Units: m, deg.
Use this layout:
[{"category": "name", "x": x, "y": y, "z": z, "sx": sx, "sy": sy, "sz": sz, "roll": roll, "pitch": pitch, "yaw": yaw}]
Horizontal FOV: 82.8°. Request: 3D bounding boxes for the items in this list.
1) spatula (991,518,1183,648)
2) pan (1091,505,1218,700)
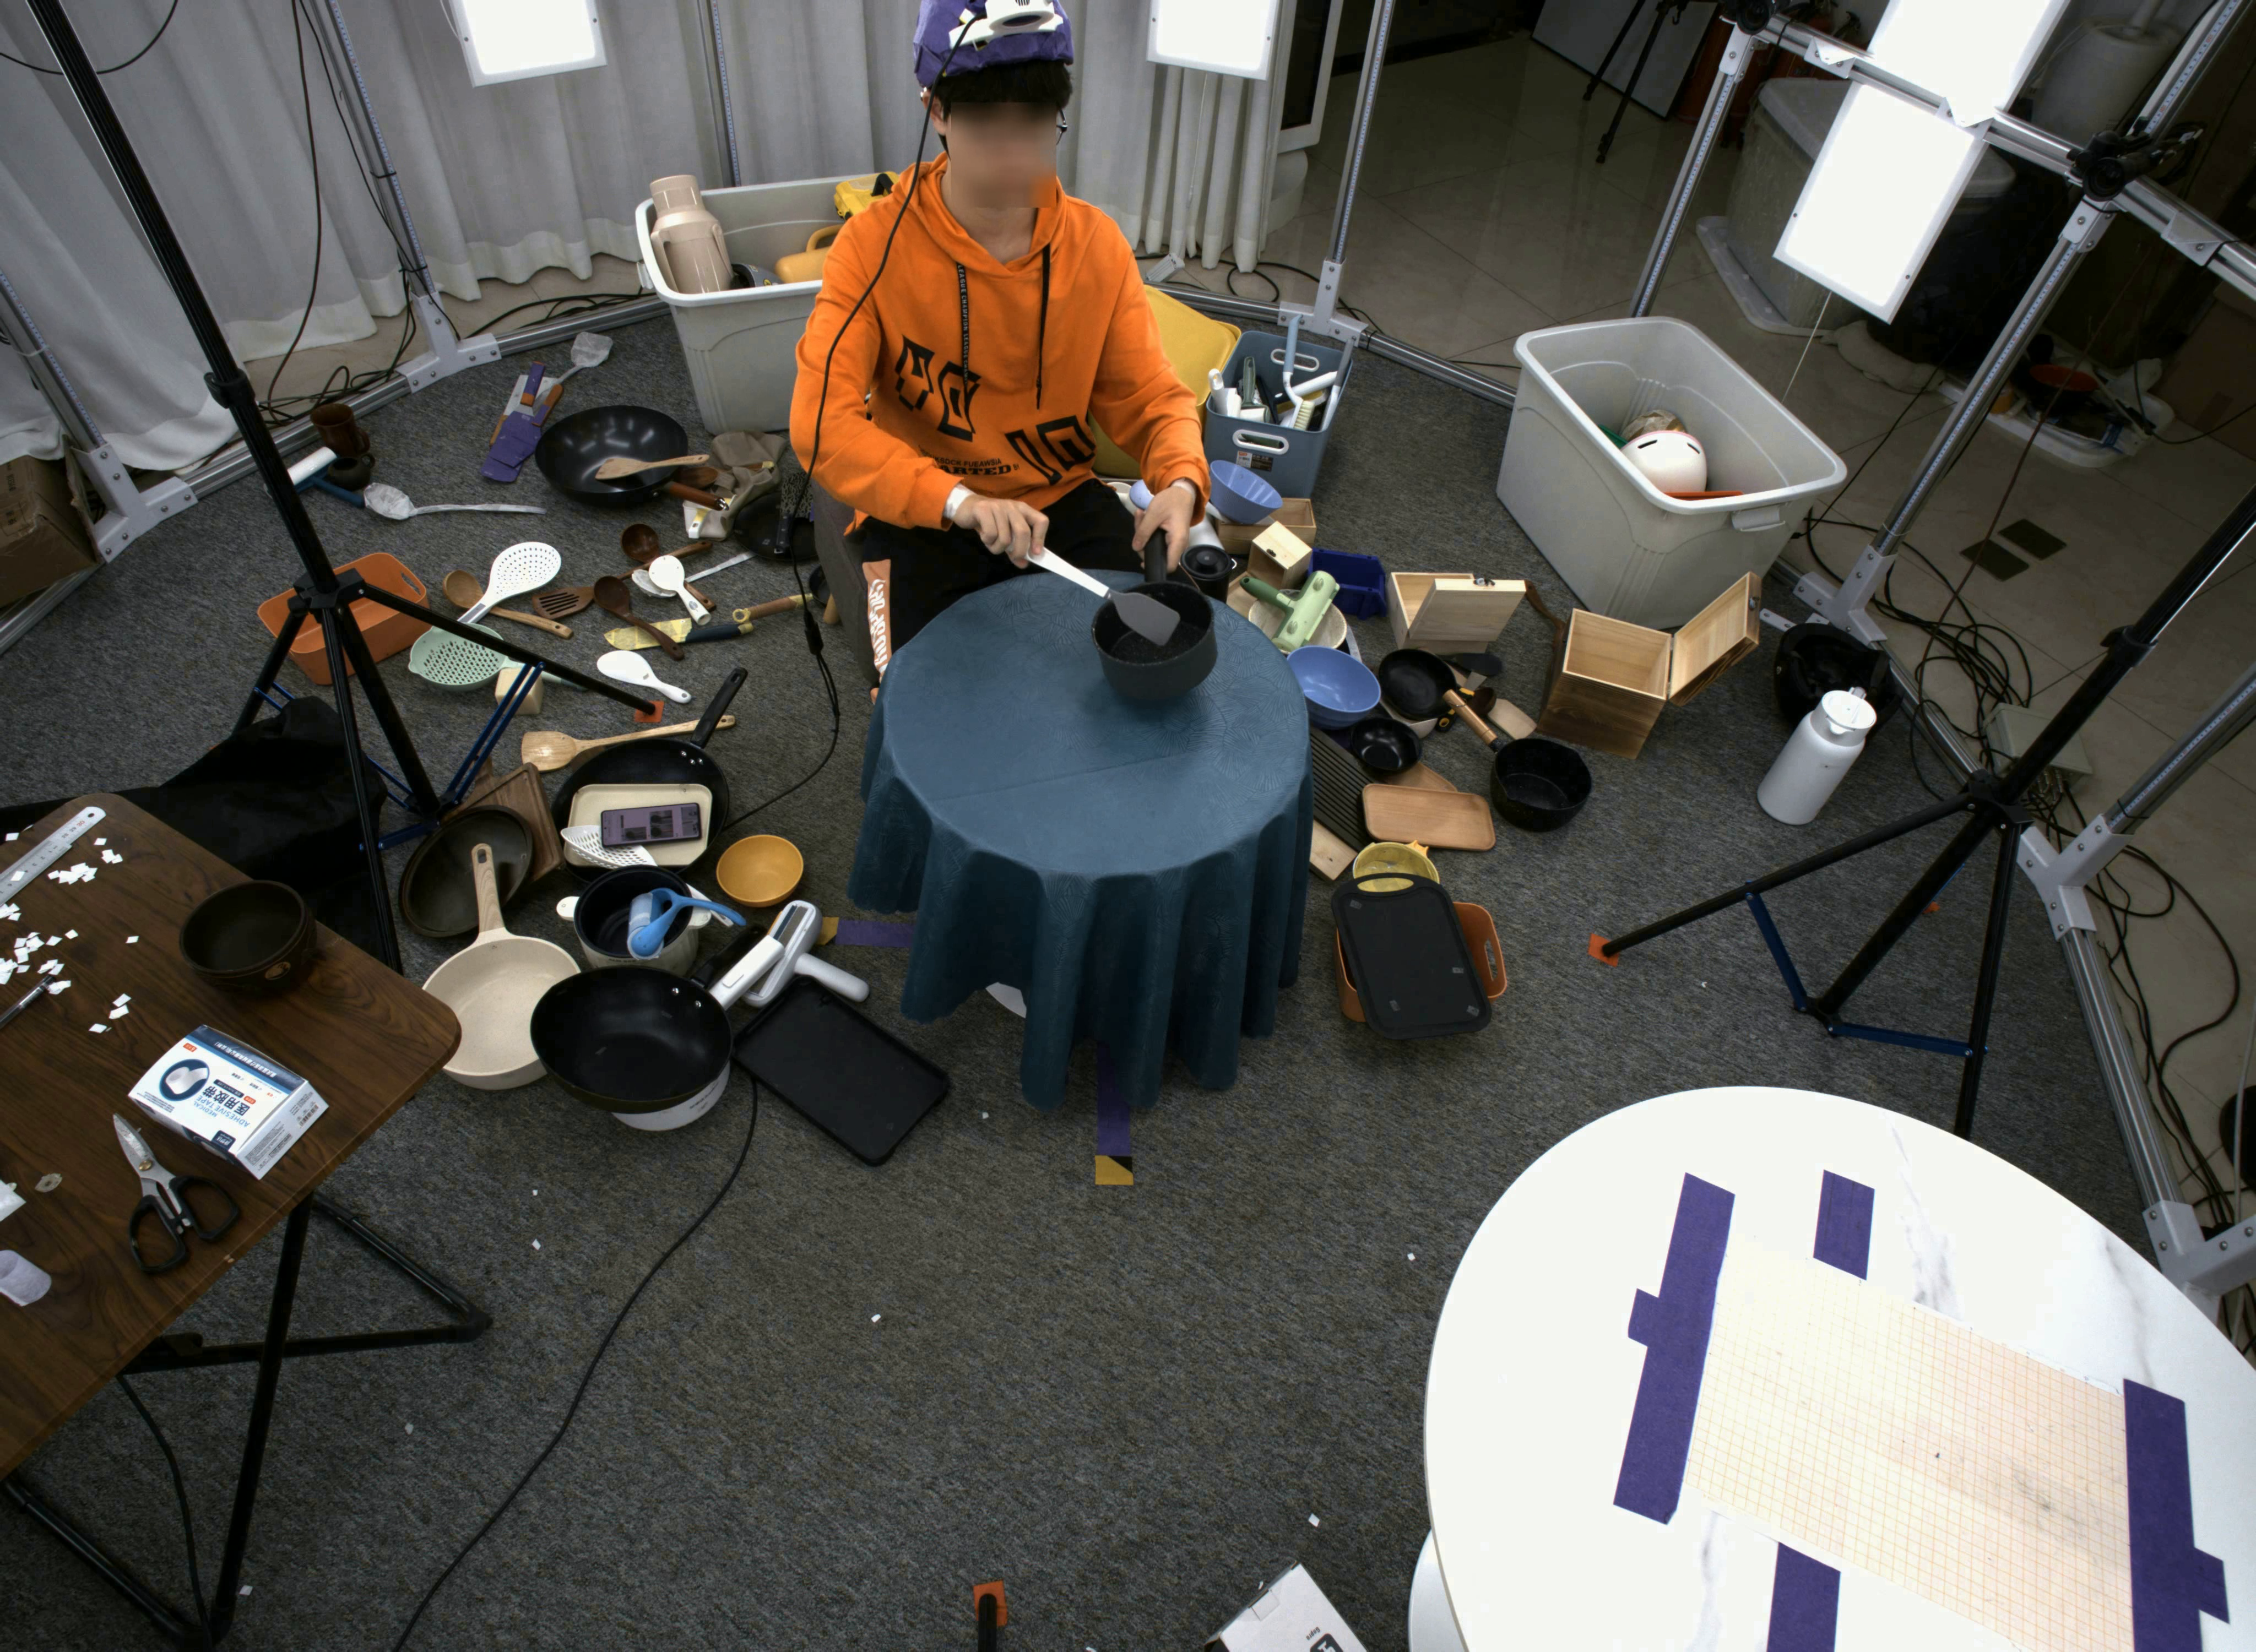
[{"category": "spatula", "x": -0.058, "y": -0.338, "z": 1.774, "sx": 0.288, "sy": 0.032, "sz": 0.059, "roll": 31, "pitch": 86, "yaw": 4}, {"category": "pan", "x": 0.044, "y": -0.321, "z": 1.835, "sx": 0.172, "sy": 0.084, "sz": 0.337, "roll": -3, "pitch": 50, "yaw": 10}]
